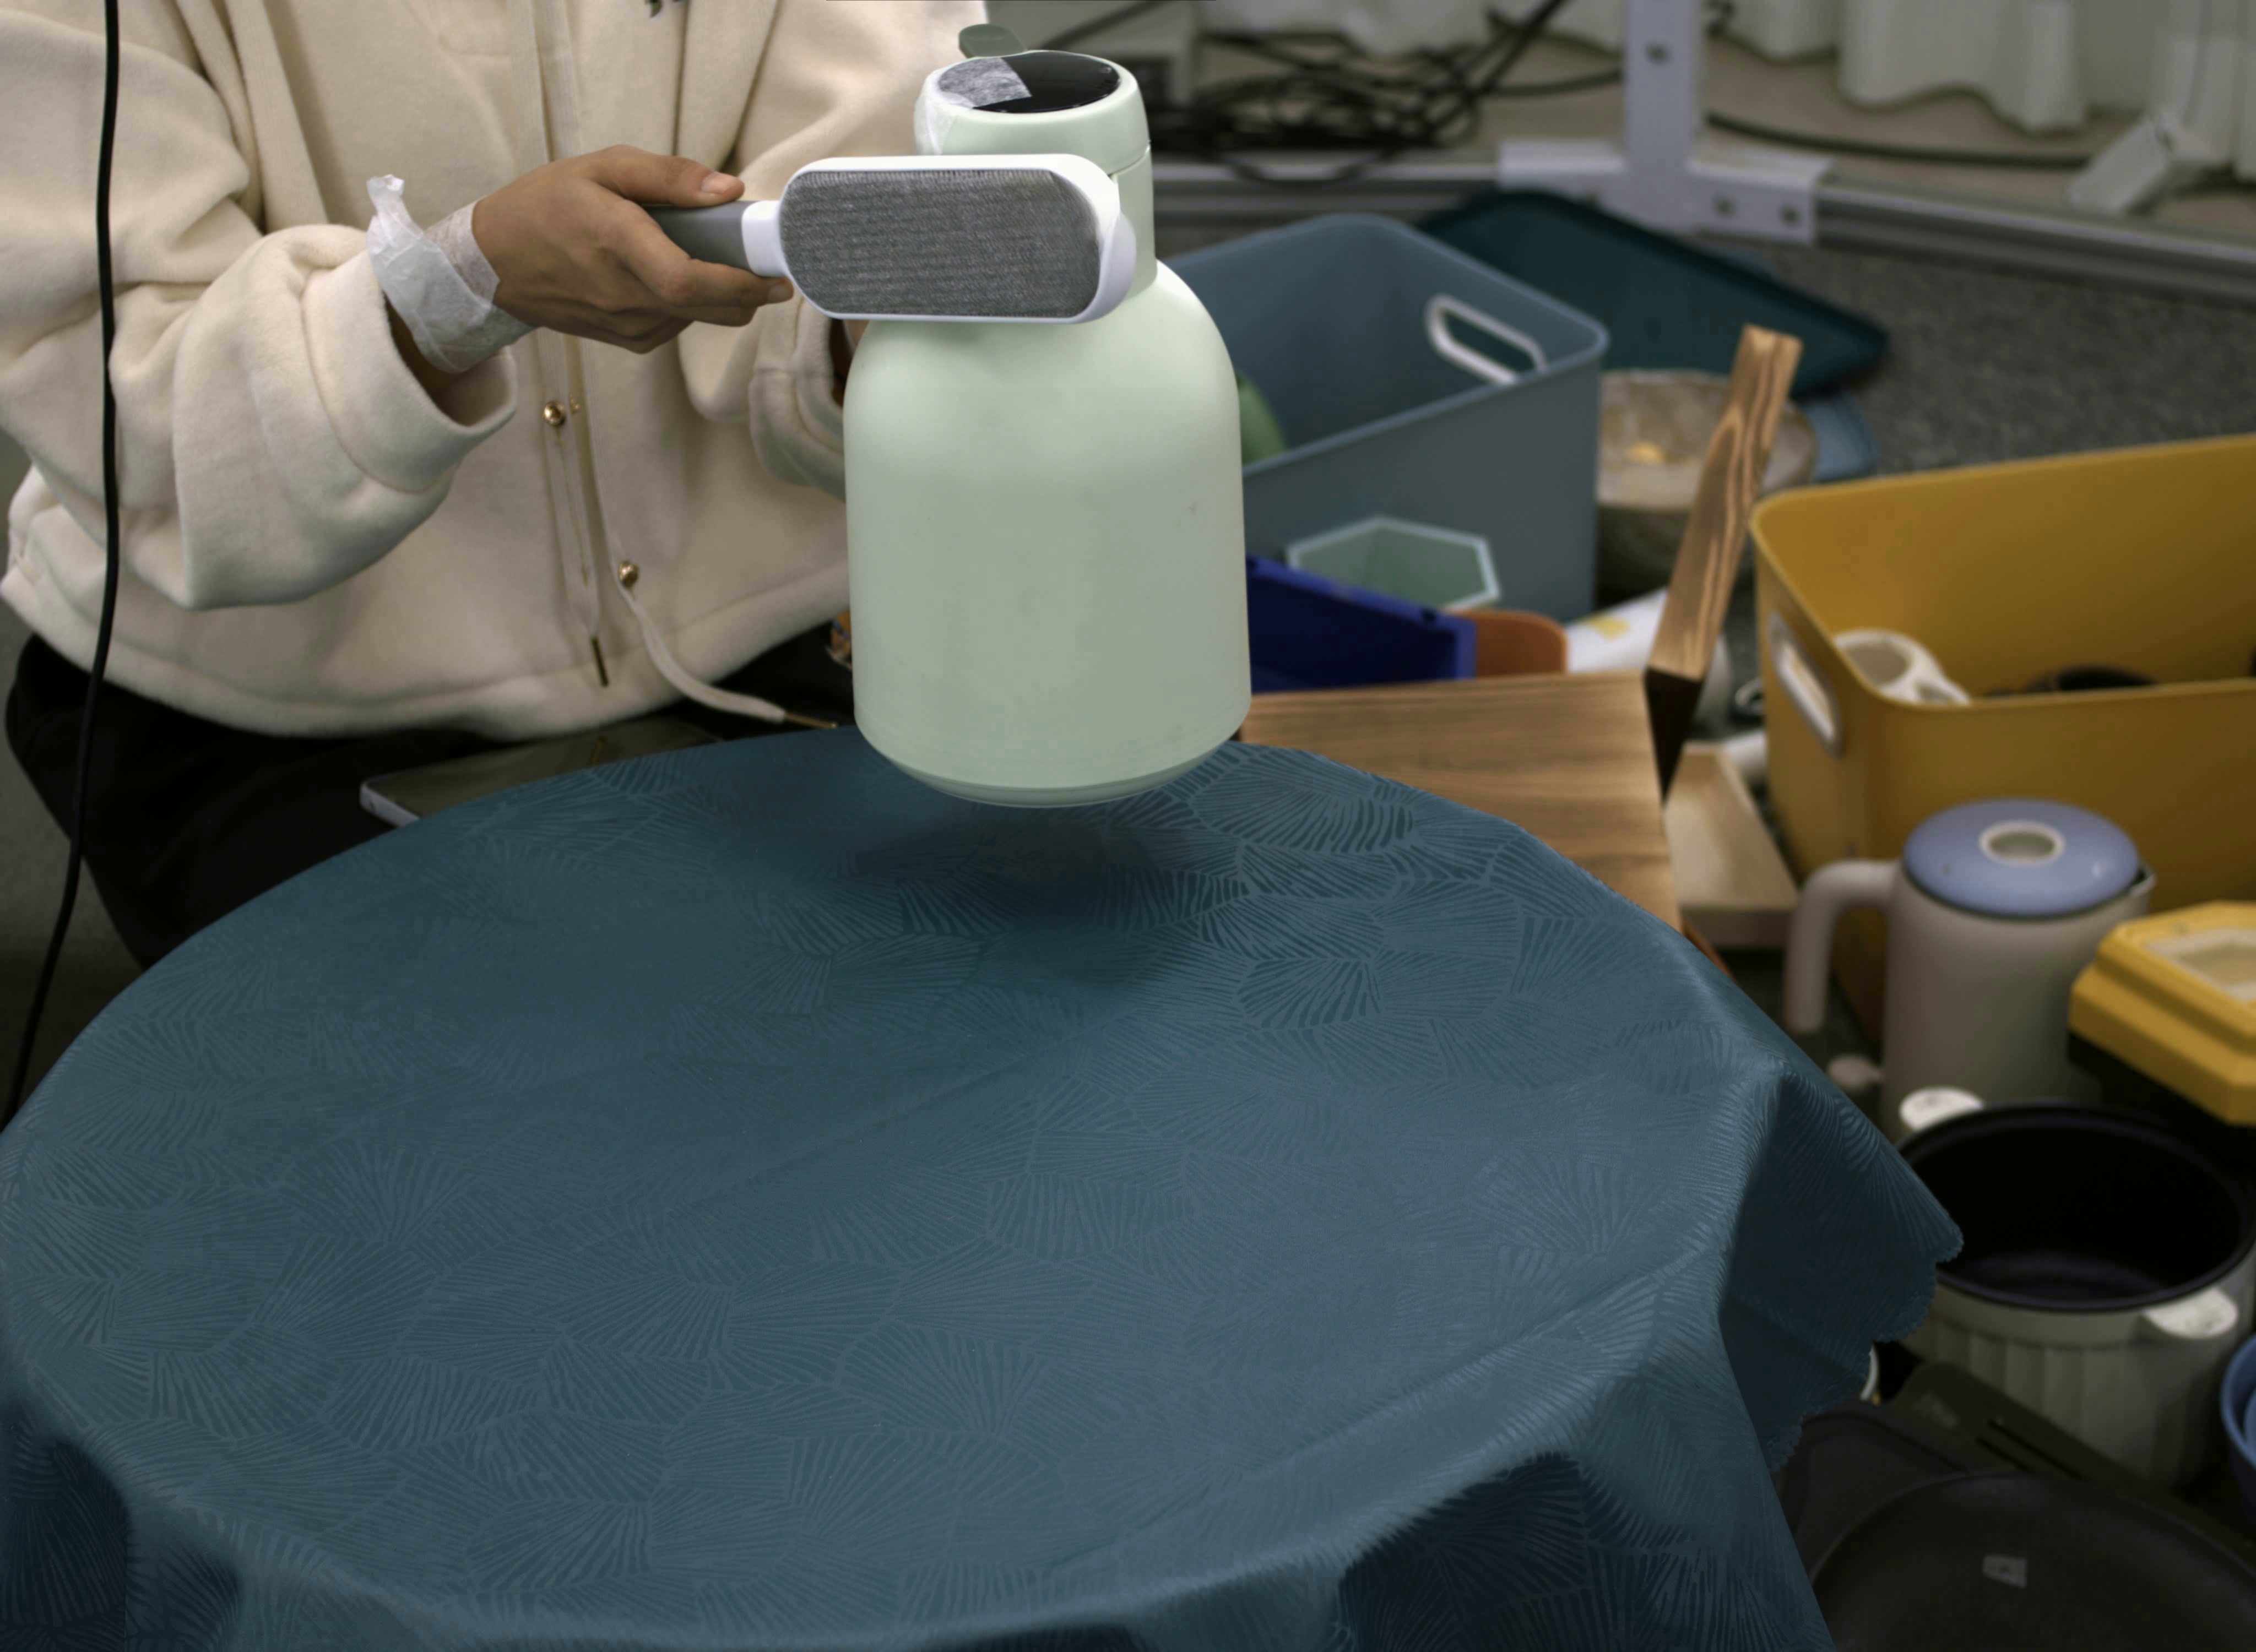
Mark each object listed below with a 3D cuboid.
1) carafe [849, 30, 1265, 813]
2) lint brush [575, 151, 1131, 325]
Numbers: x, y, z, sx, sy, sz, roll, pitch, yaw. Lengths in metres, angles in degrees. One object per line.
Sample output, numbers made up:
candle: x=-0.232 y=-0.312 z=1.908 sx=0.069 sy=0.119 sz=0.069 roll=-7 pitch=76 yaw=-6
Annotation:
carafe: x=-0.033 y=-0.149 z=2.013 sx=0.144 sy=0.255 sz=0.188 roll=-10 pitch=22 yaw=-13
lint brush: x=-0.101 y=-0.206 z=1.967 sx=0.021 sy=0.060 sz=0.307 roll=-20 pitch=17 yaw=-37
